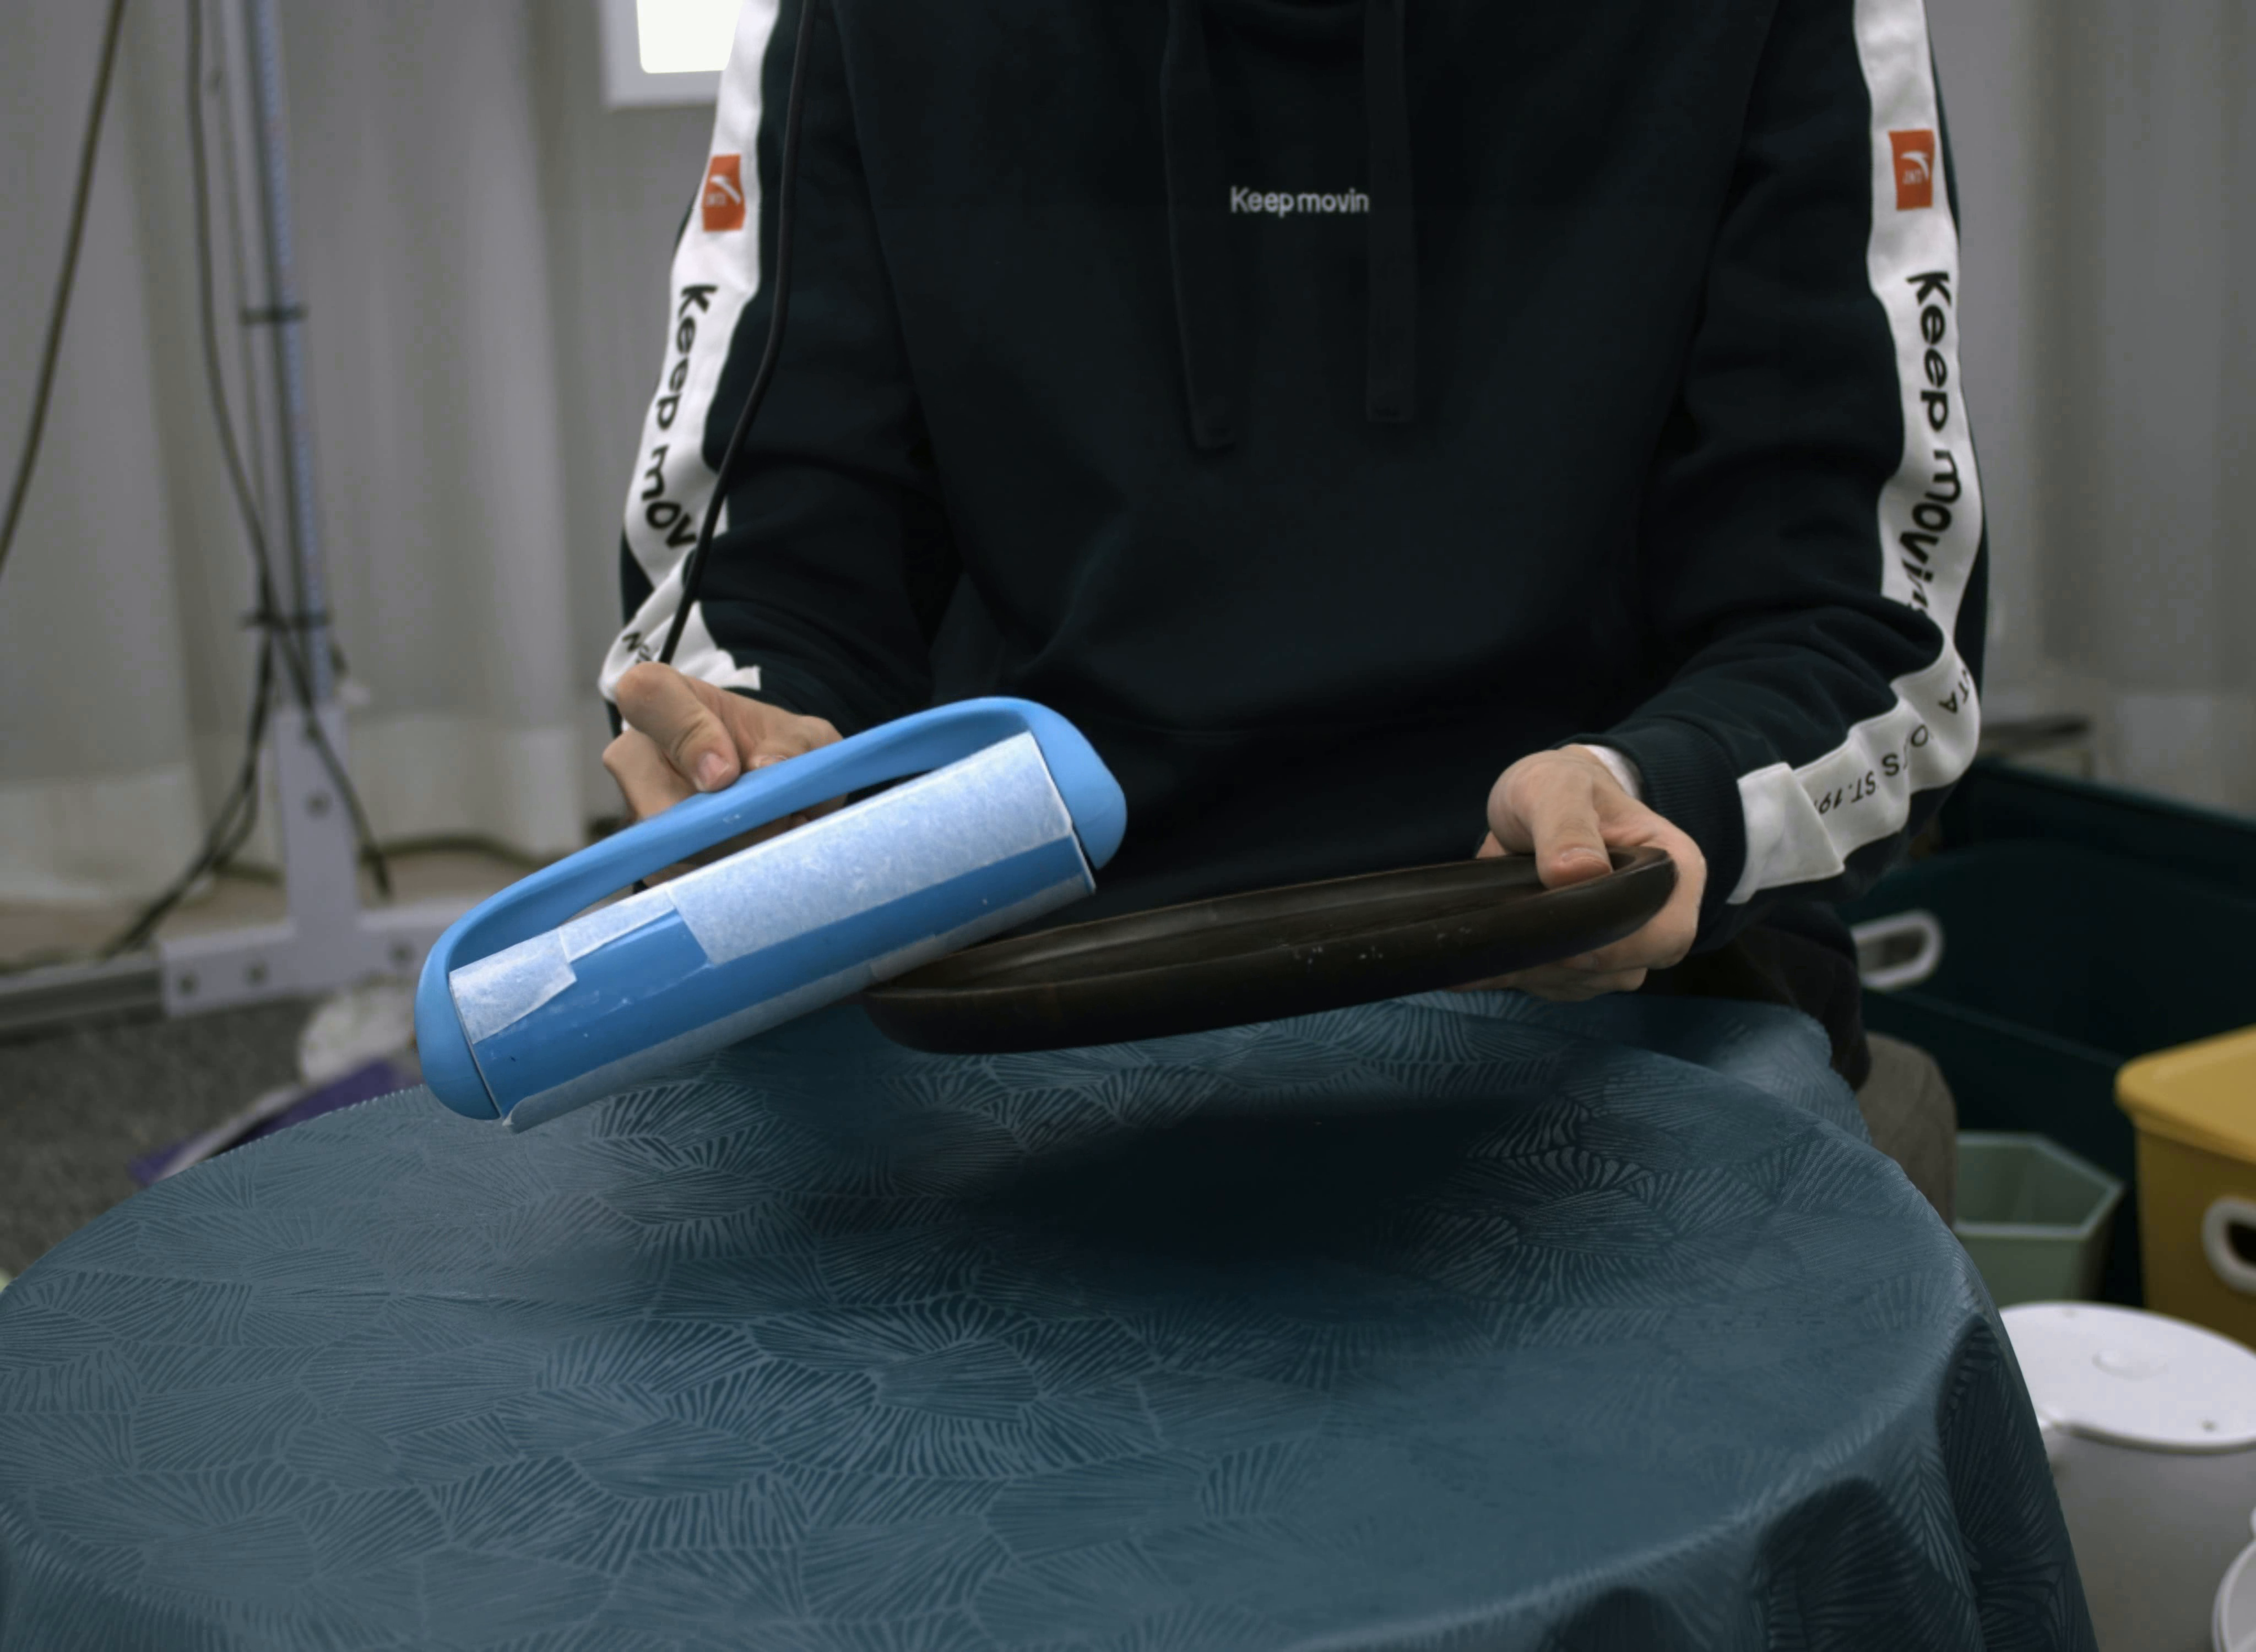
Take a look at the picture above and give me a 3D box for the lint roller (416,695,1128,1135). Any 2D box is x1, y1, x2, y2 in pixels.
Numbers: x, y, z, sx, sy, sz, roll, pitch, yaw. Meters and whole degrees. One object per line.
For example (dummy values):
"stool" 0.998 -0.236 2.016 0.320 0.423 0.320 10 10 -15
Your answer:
"lint roller" -0.117 0.017 1.716 0.228 0.067 0.181 -25 16 -4

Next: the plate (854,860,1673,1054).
"plate" 0.042 0.038 1.677 0.254 0.029 0.255 -9 4 0
